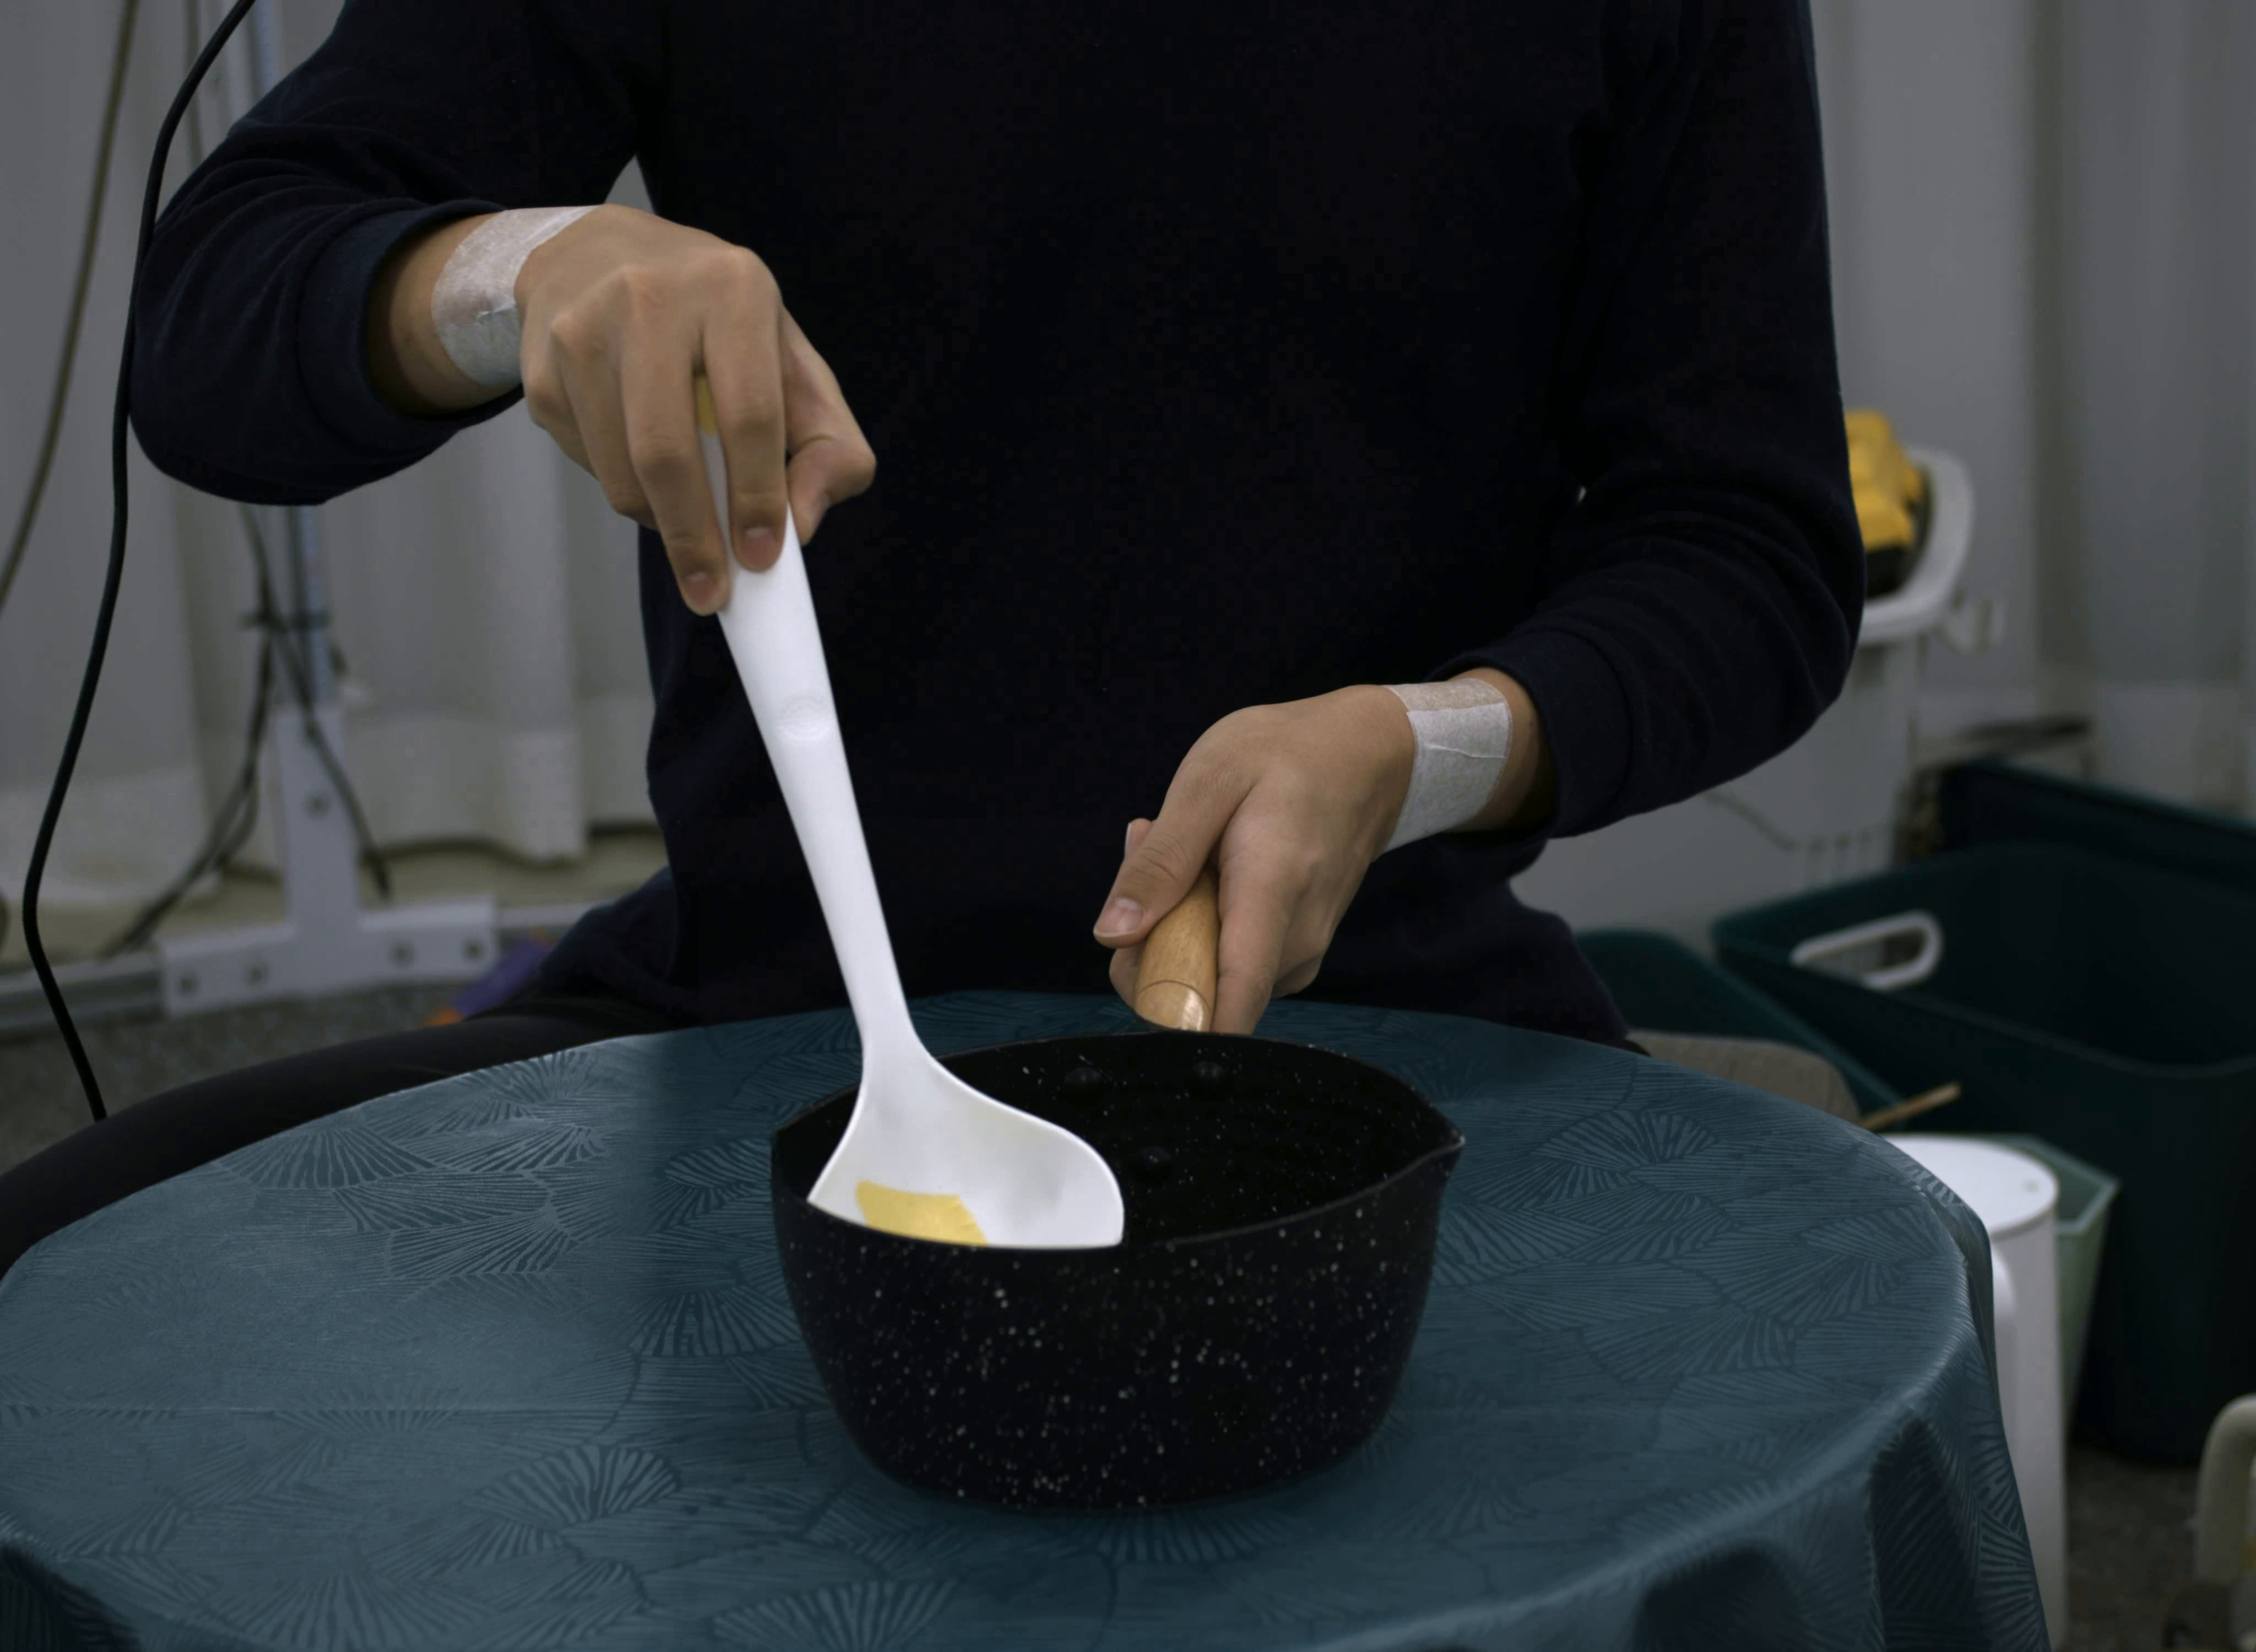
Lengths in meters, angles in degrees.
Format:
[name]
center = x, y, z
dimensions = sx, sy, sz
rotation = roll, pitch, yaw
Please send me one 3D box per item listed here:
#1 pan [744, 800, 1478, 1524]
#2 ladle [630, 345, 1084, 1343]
[pan]
center = 0.004, 0.092, 1.589
dimensions = 0.207, 0.108, 0.345
rotation = -2, 17, 7
[ladle]
center = -0.087, 0.003, 1.523
dimensions = 0.090, 0.295, 0.069
rotation = -15, -10, -4
